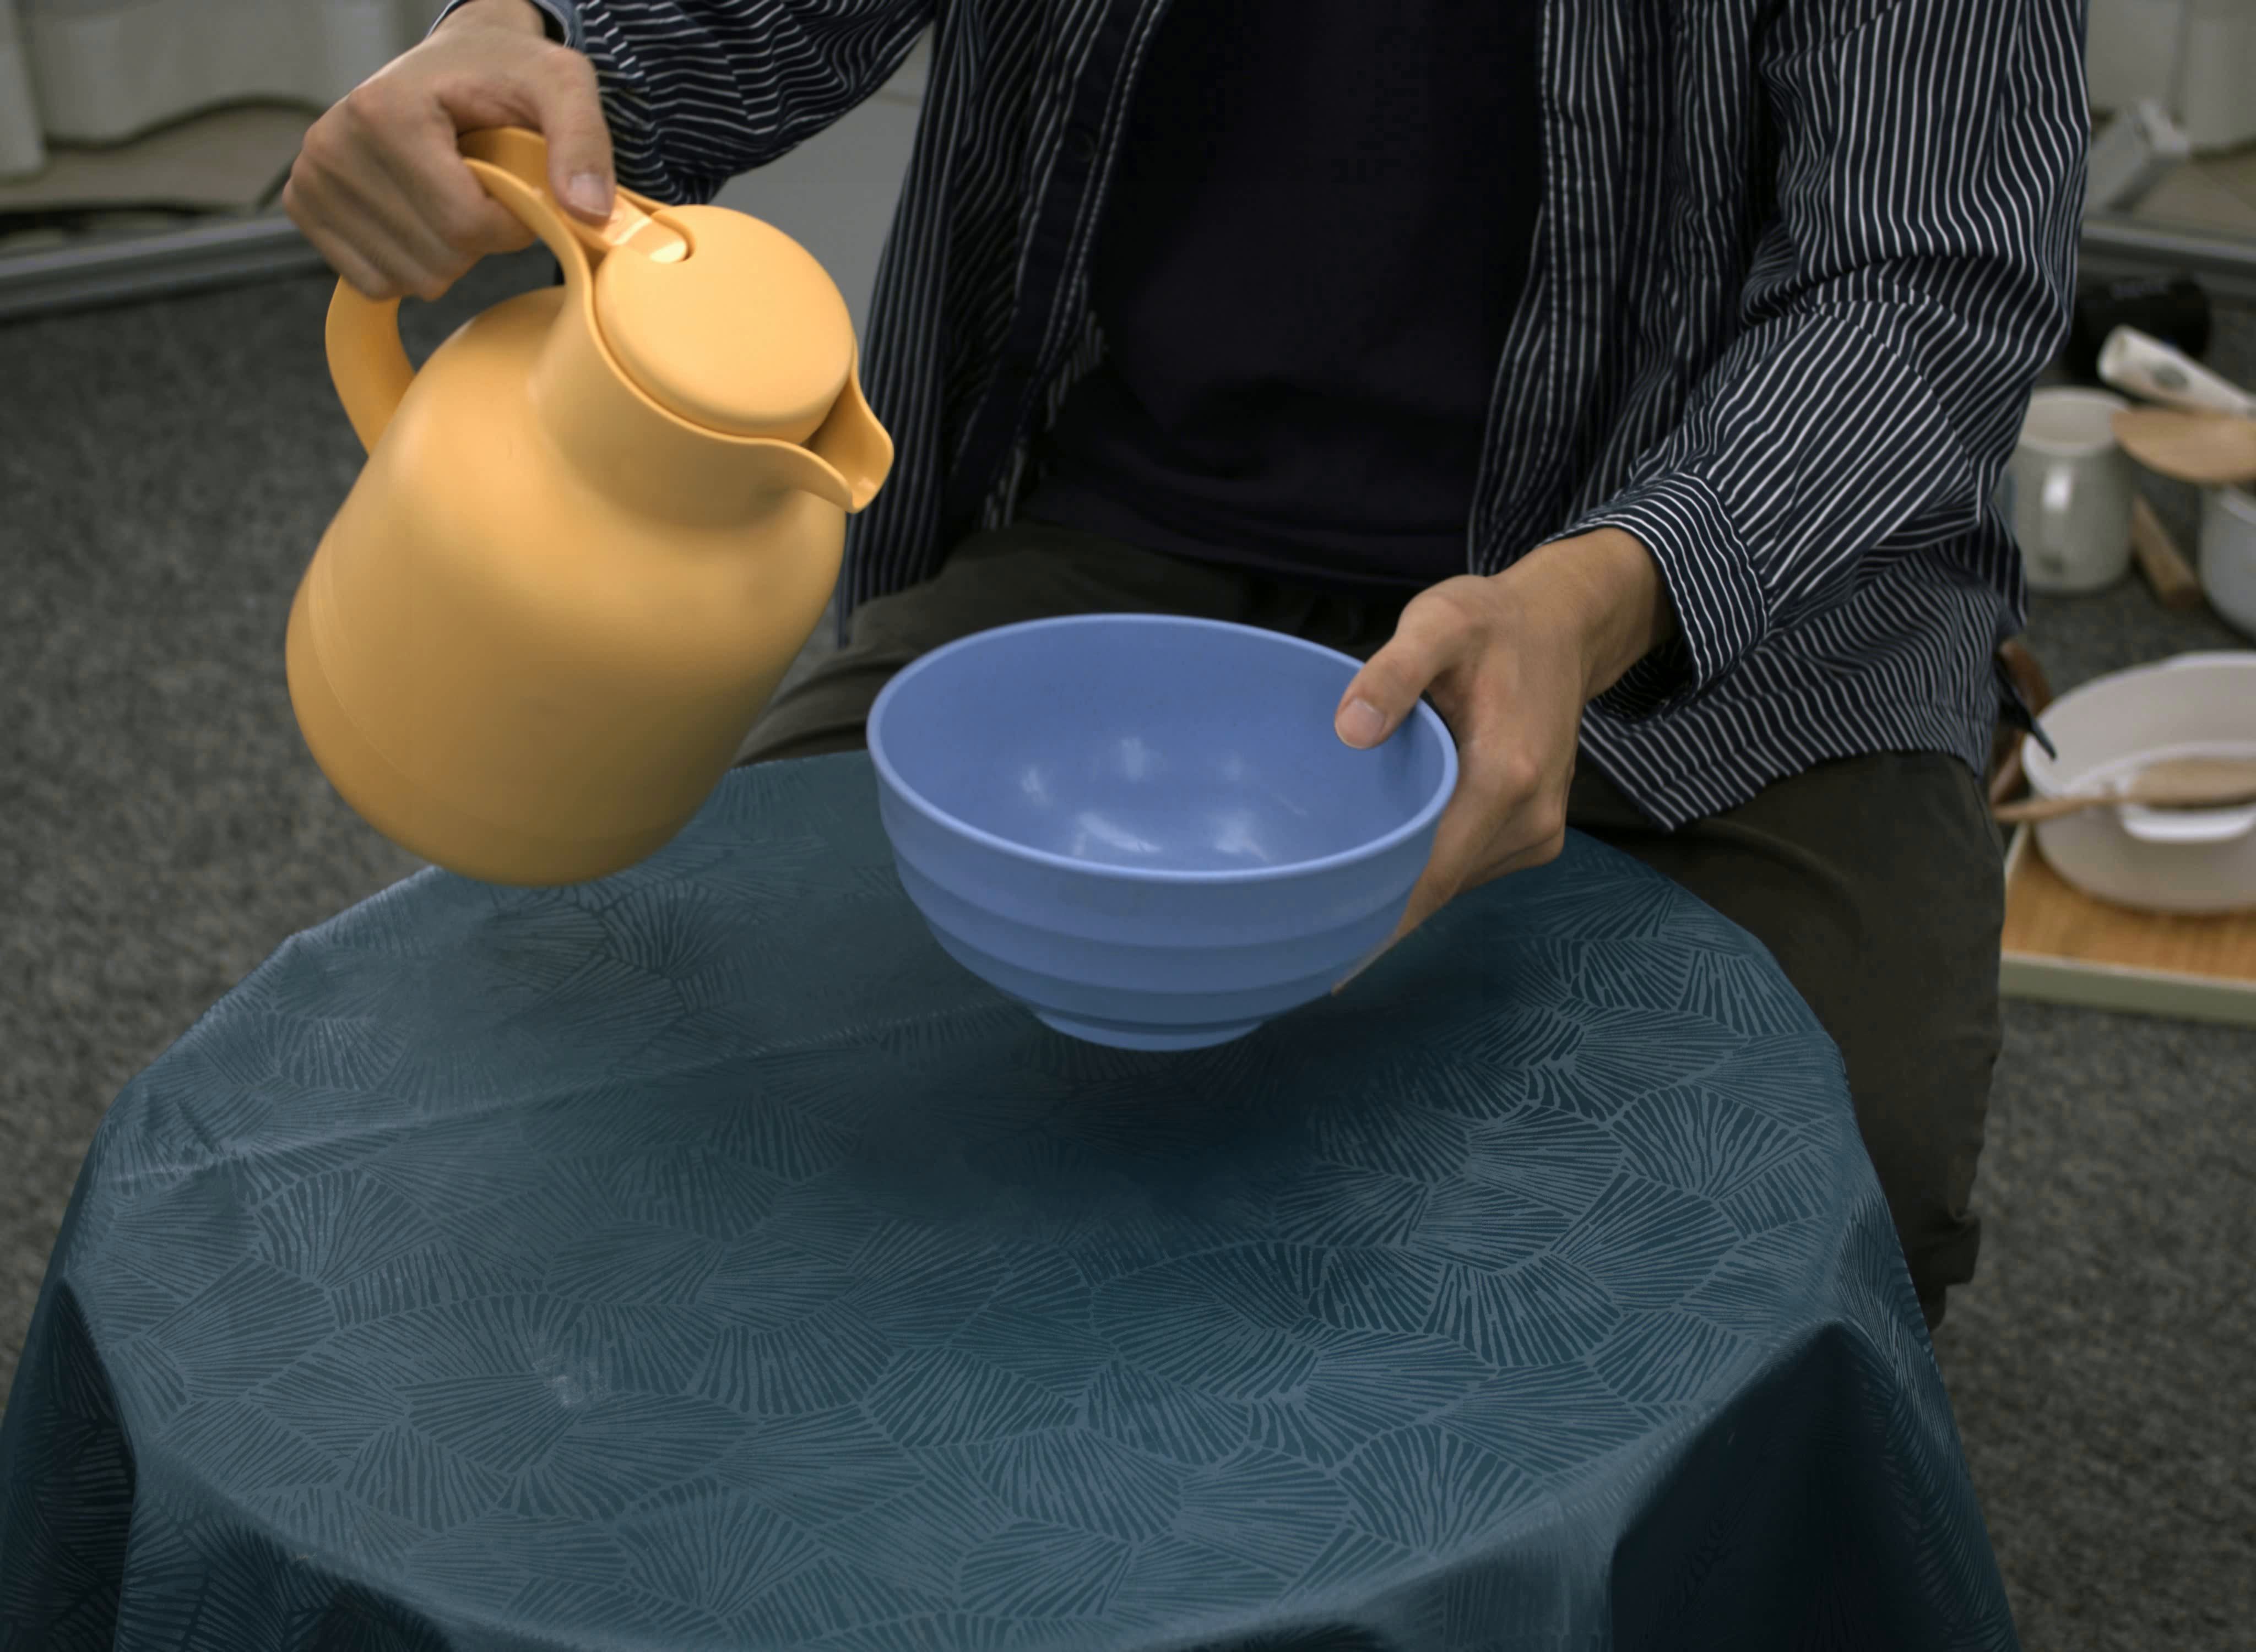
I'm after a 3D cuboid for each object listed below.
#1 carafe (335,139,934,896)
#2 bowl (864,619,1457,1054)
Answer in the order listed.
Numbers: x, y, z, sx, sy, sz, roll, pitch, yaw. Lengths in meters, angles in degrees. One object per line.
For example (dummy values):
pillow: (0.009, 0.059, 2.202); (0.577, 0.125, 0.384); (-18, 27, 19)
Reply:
carafe: (-0.178, -0.113, 1.927); (0.202, 0.256, 0.166); (42, 47, 5)
bowl: (0.008, 0.013, 1.873); (0.195, 0.094, 0.199); (3, 26, -1)
